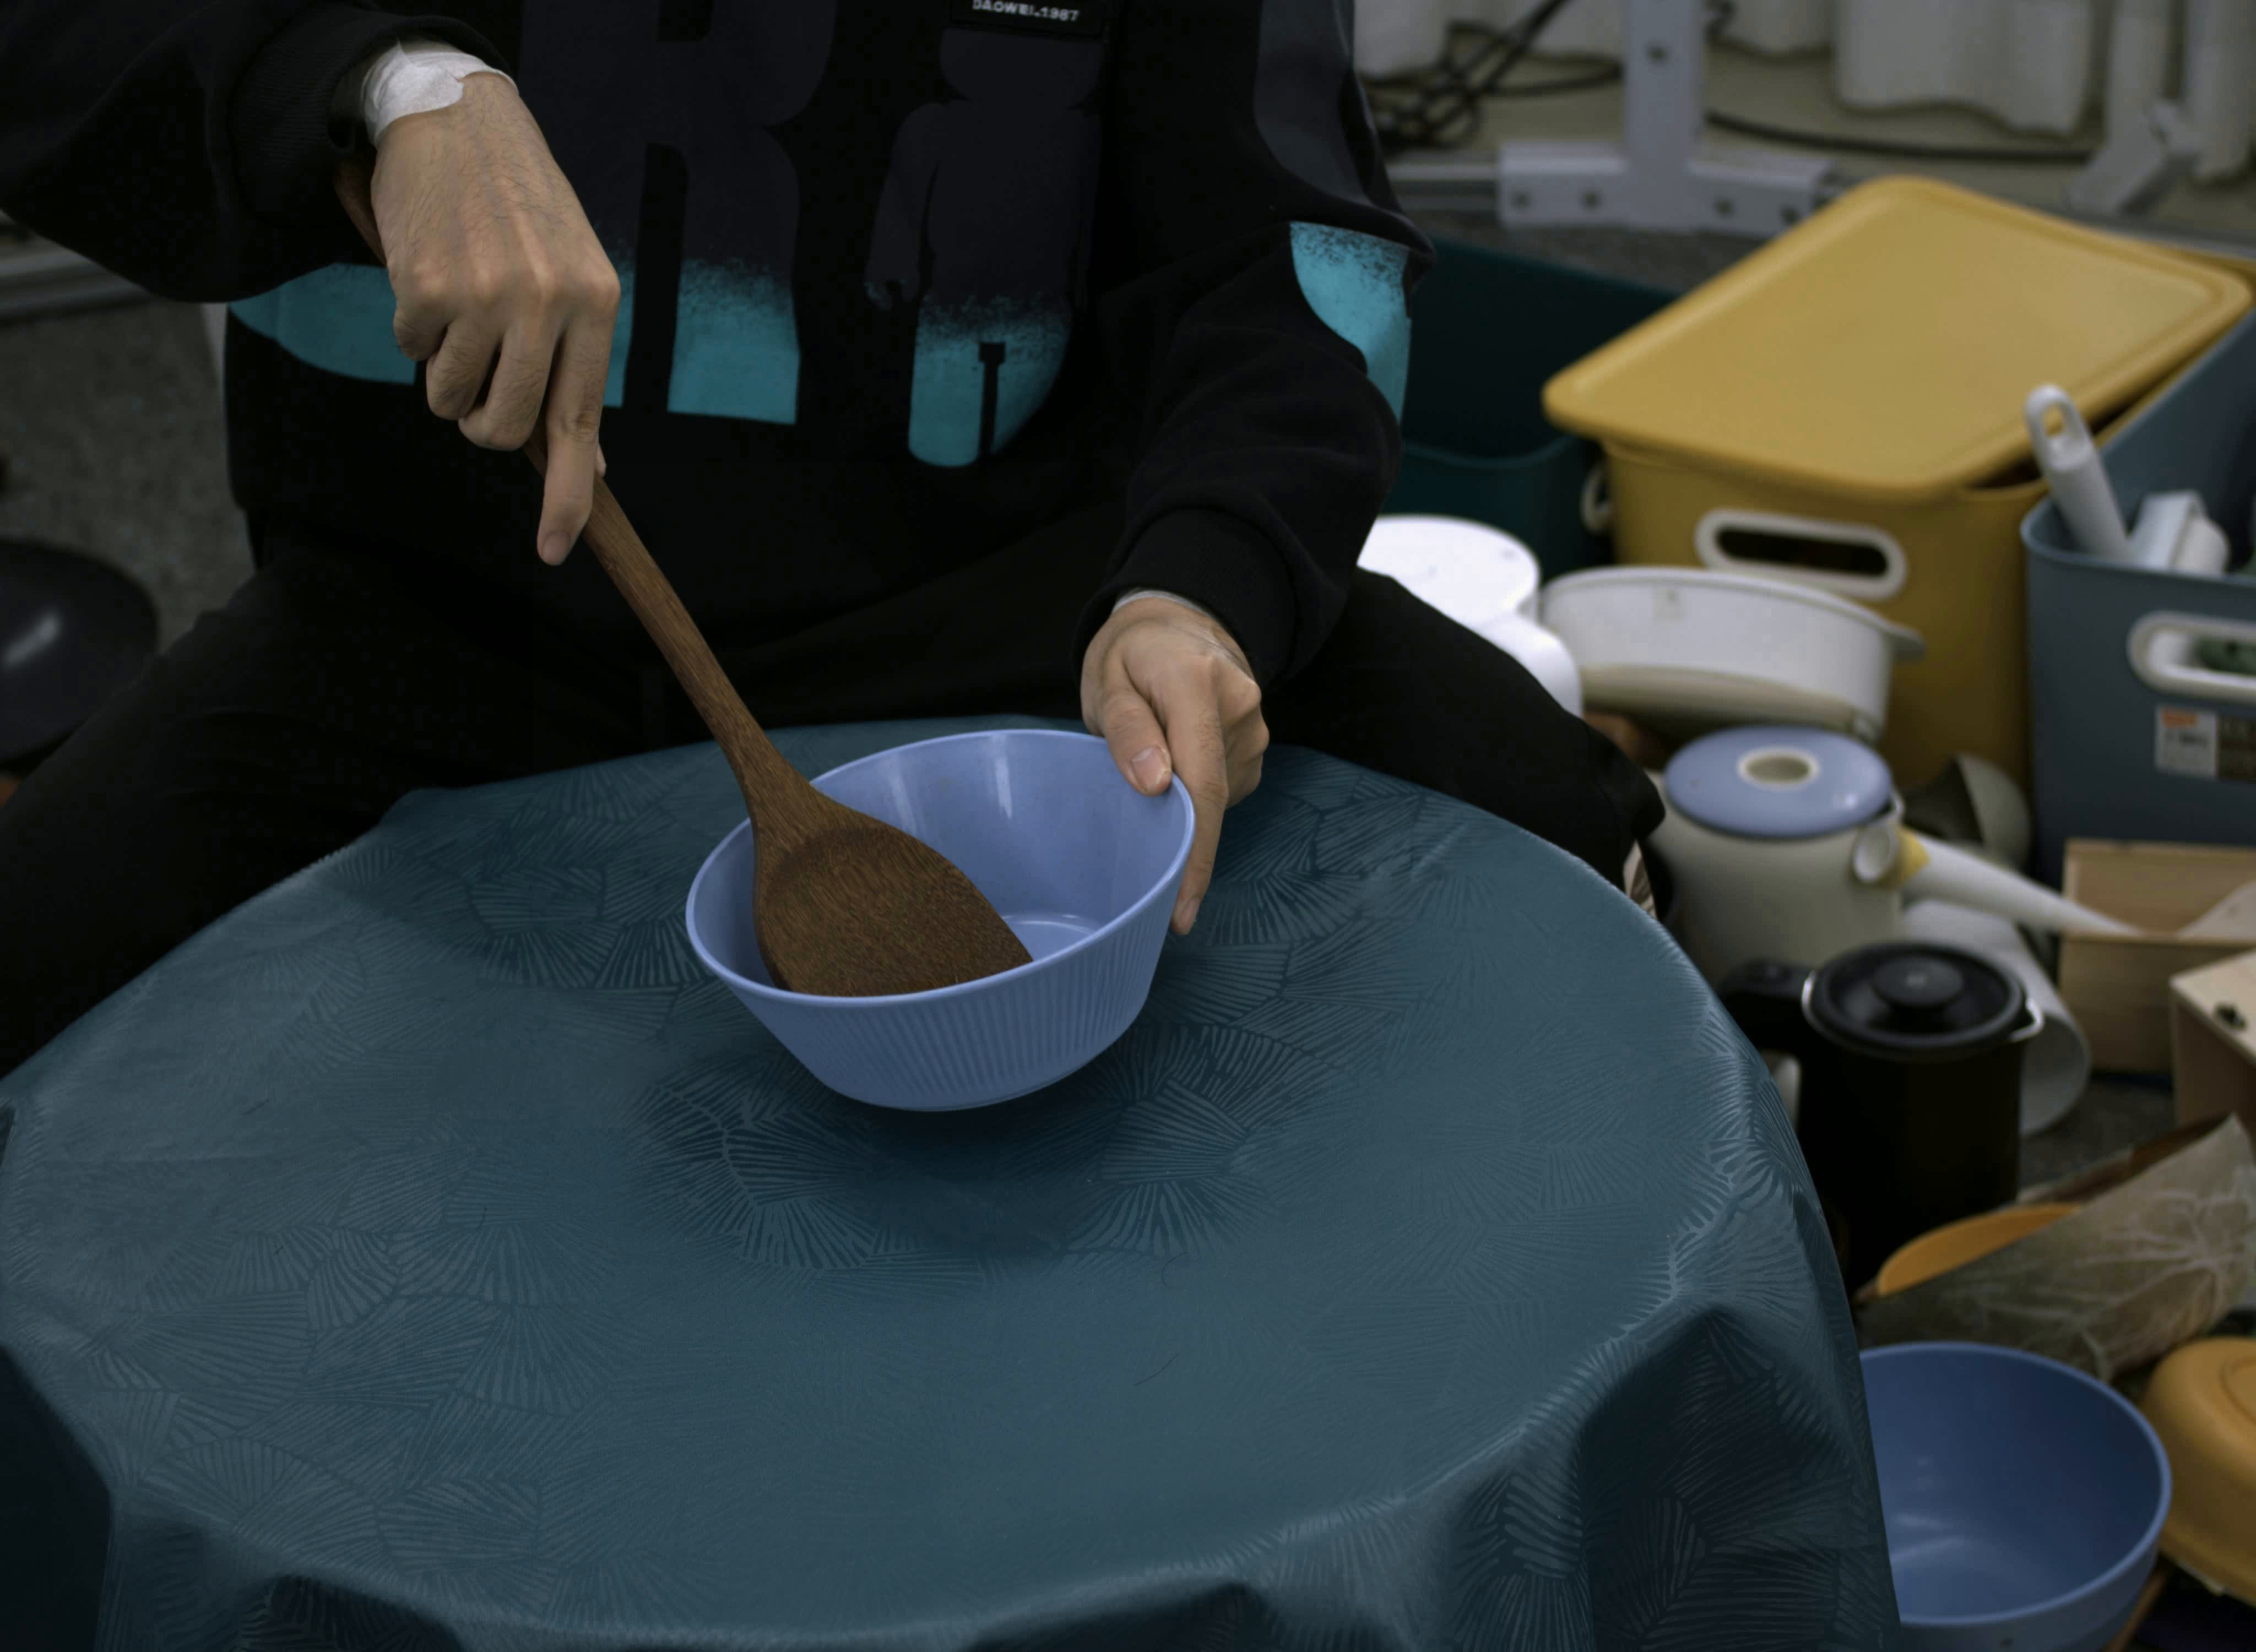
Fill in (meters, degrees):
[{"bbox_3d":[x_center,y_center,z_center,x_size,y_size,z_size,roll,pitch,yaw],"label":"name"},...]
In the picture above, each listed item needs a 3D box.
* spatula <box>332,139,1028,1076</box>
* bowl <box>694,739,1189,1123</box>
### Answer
[{"bbox_3d":[-0.163,-0.080,1.929,0.097,0.015,0.387,-27,80,-41],"label":"spatula"},{"bbox_3d":[-0.055,0.043,1.915,0.175,0.069,0.179,-13,27,7],"label":"bowl"}]
